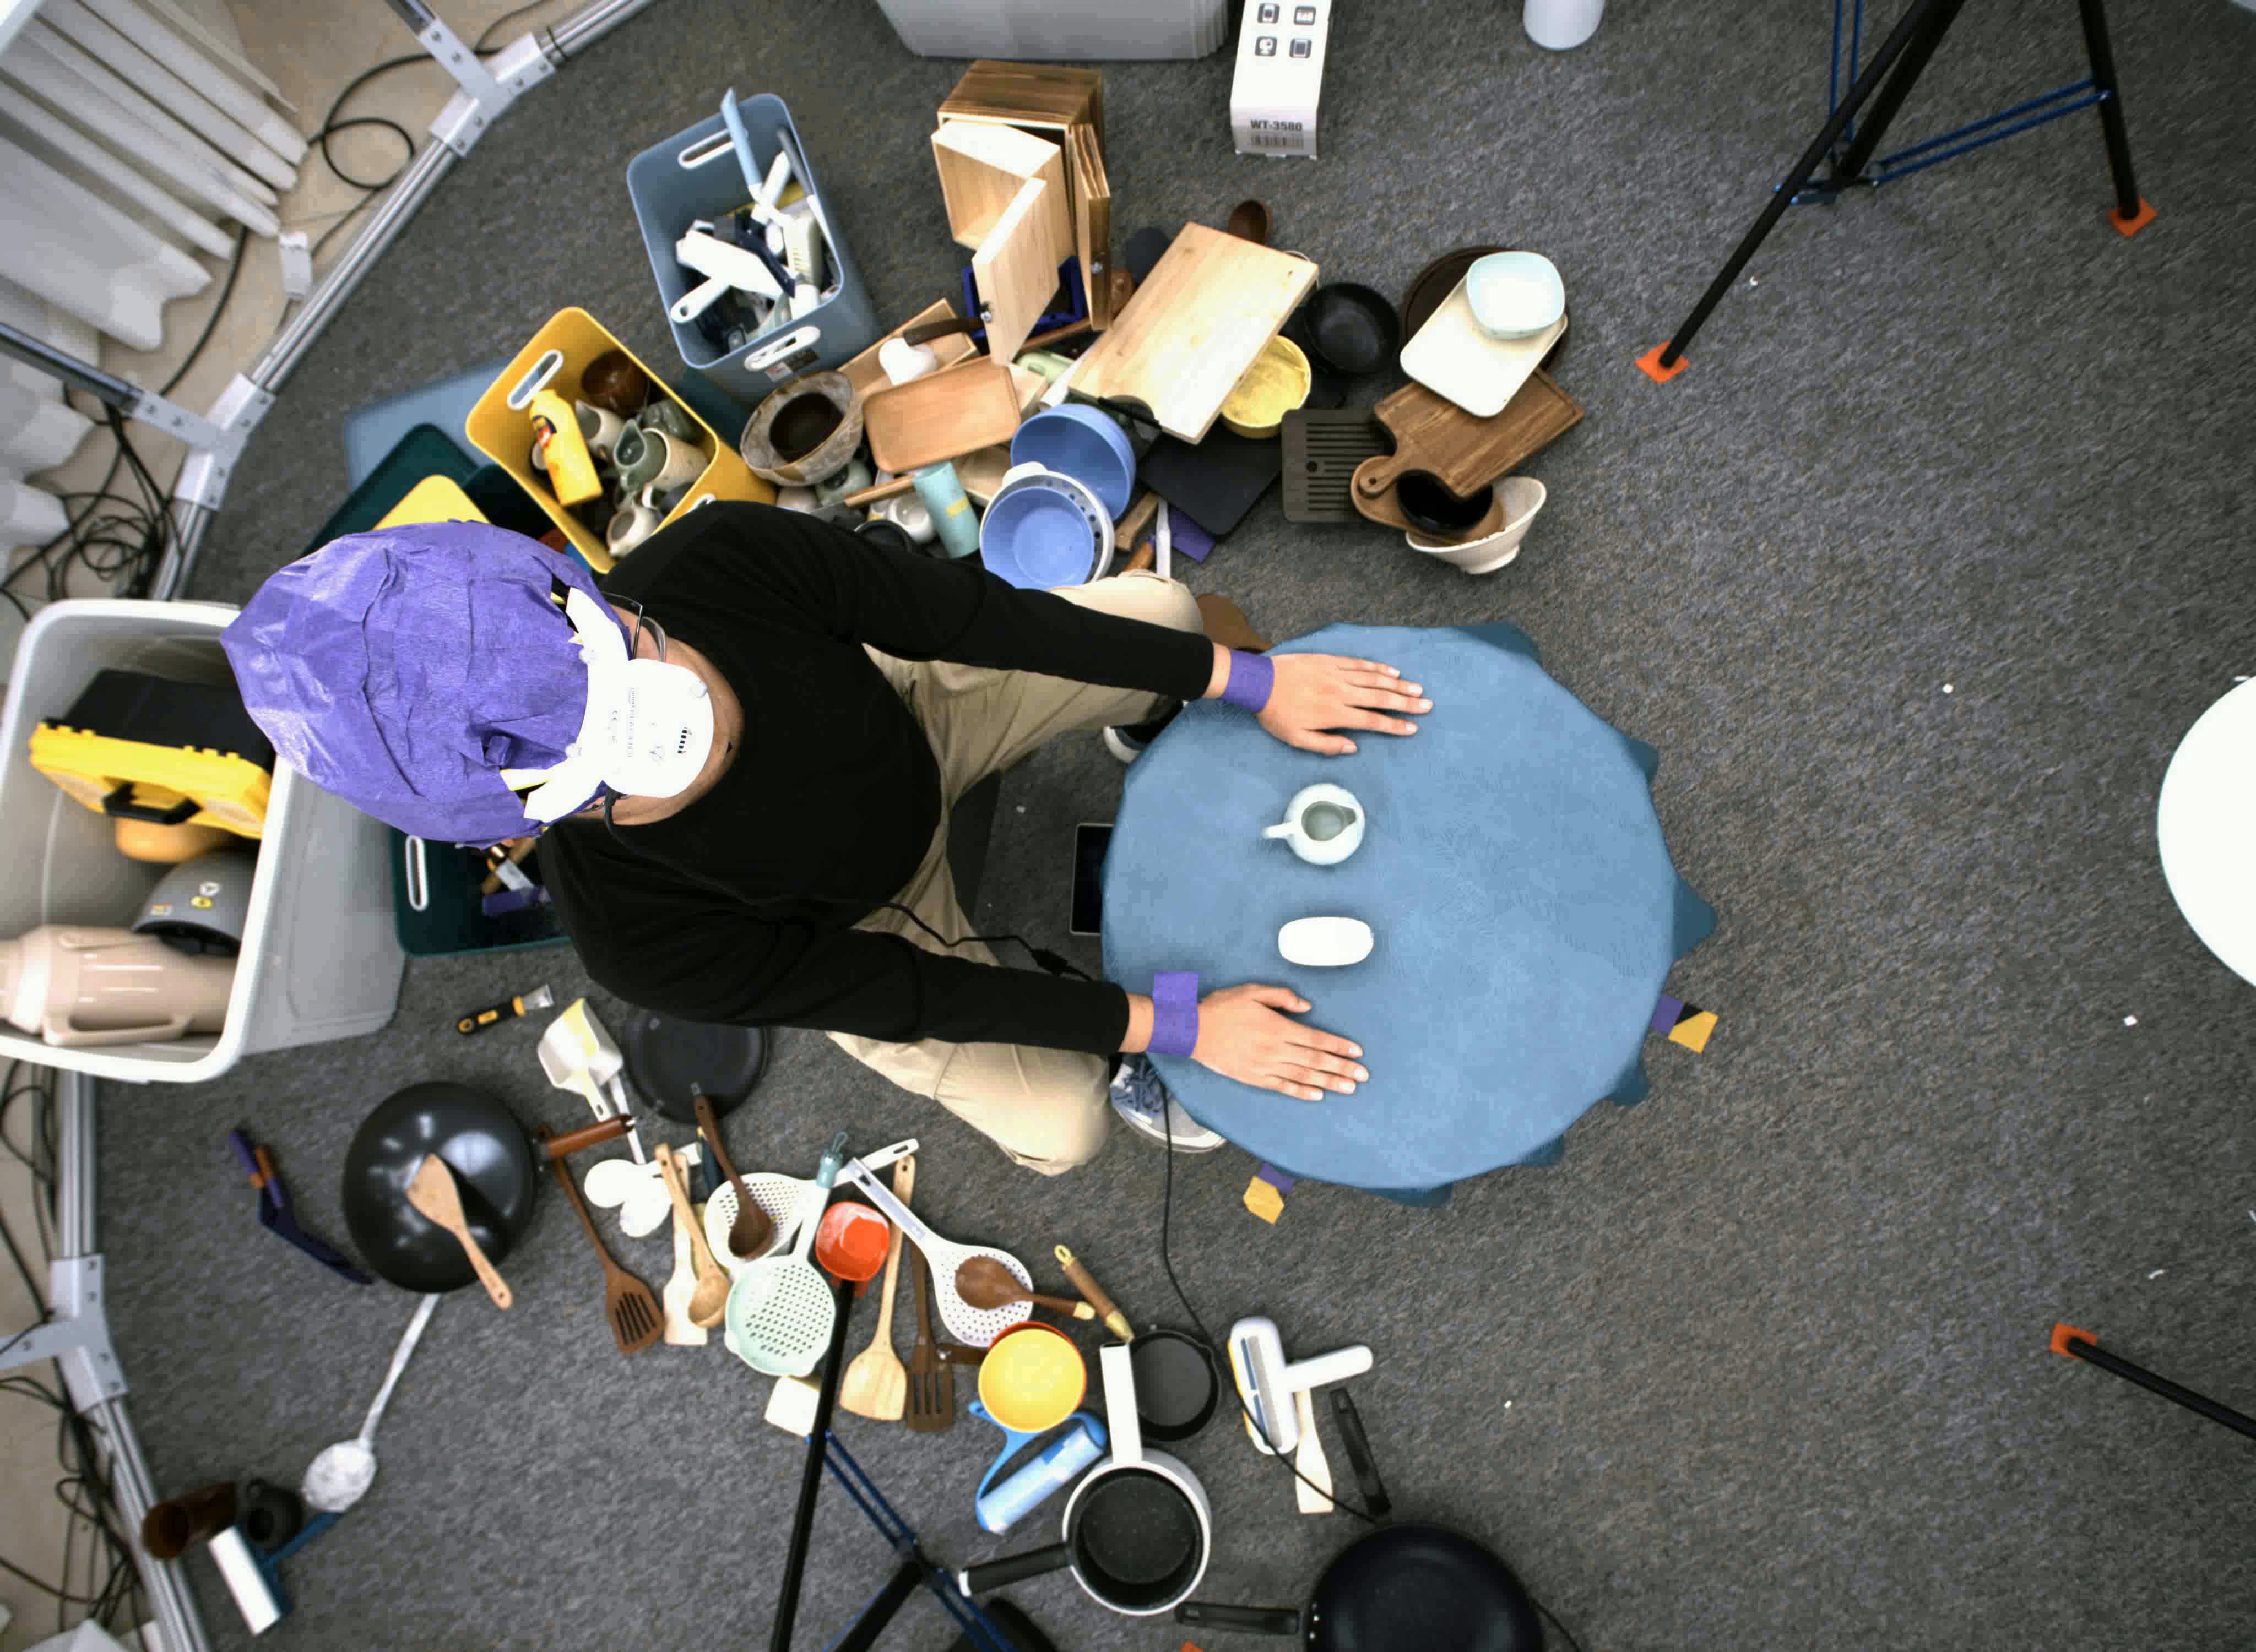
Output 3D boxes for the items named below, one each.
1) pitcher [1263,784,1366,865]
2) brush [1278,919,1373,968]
[{"bbox_3d":[0.195,0.000,1.449,0.109,0.060,0.085,-14,83,12],"label":"pitcher"},{"bbox_3d":[0.204,0.120,1.431,0.099,0.073,0.050,1,83,9],"label":"brush"}]
